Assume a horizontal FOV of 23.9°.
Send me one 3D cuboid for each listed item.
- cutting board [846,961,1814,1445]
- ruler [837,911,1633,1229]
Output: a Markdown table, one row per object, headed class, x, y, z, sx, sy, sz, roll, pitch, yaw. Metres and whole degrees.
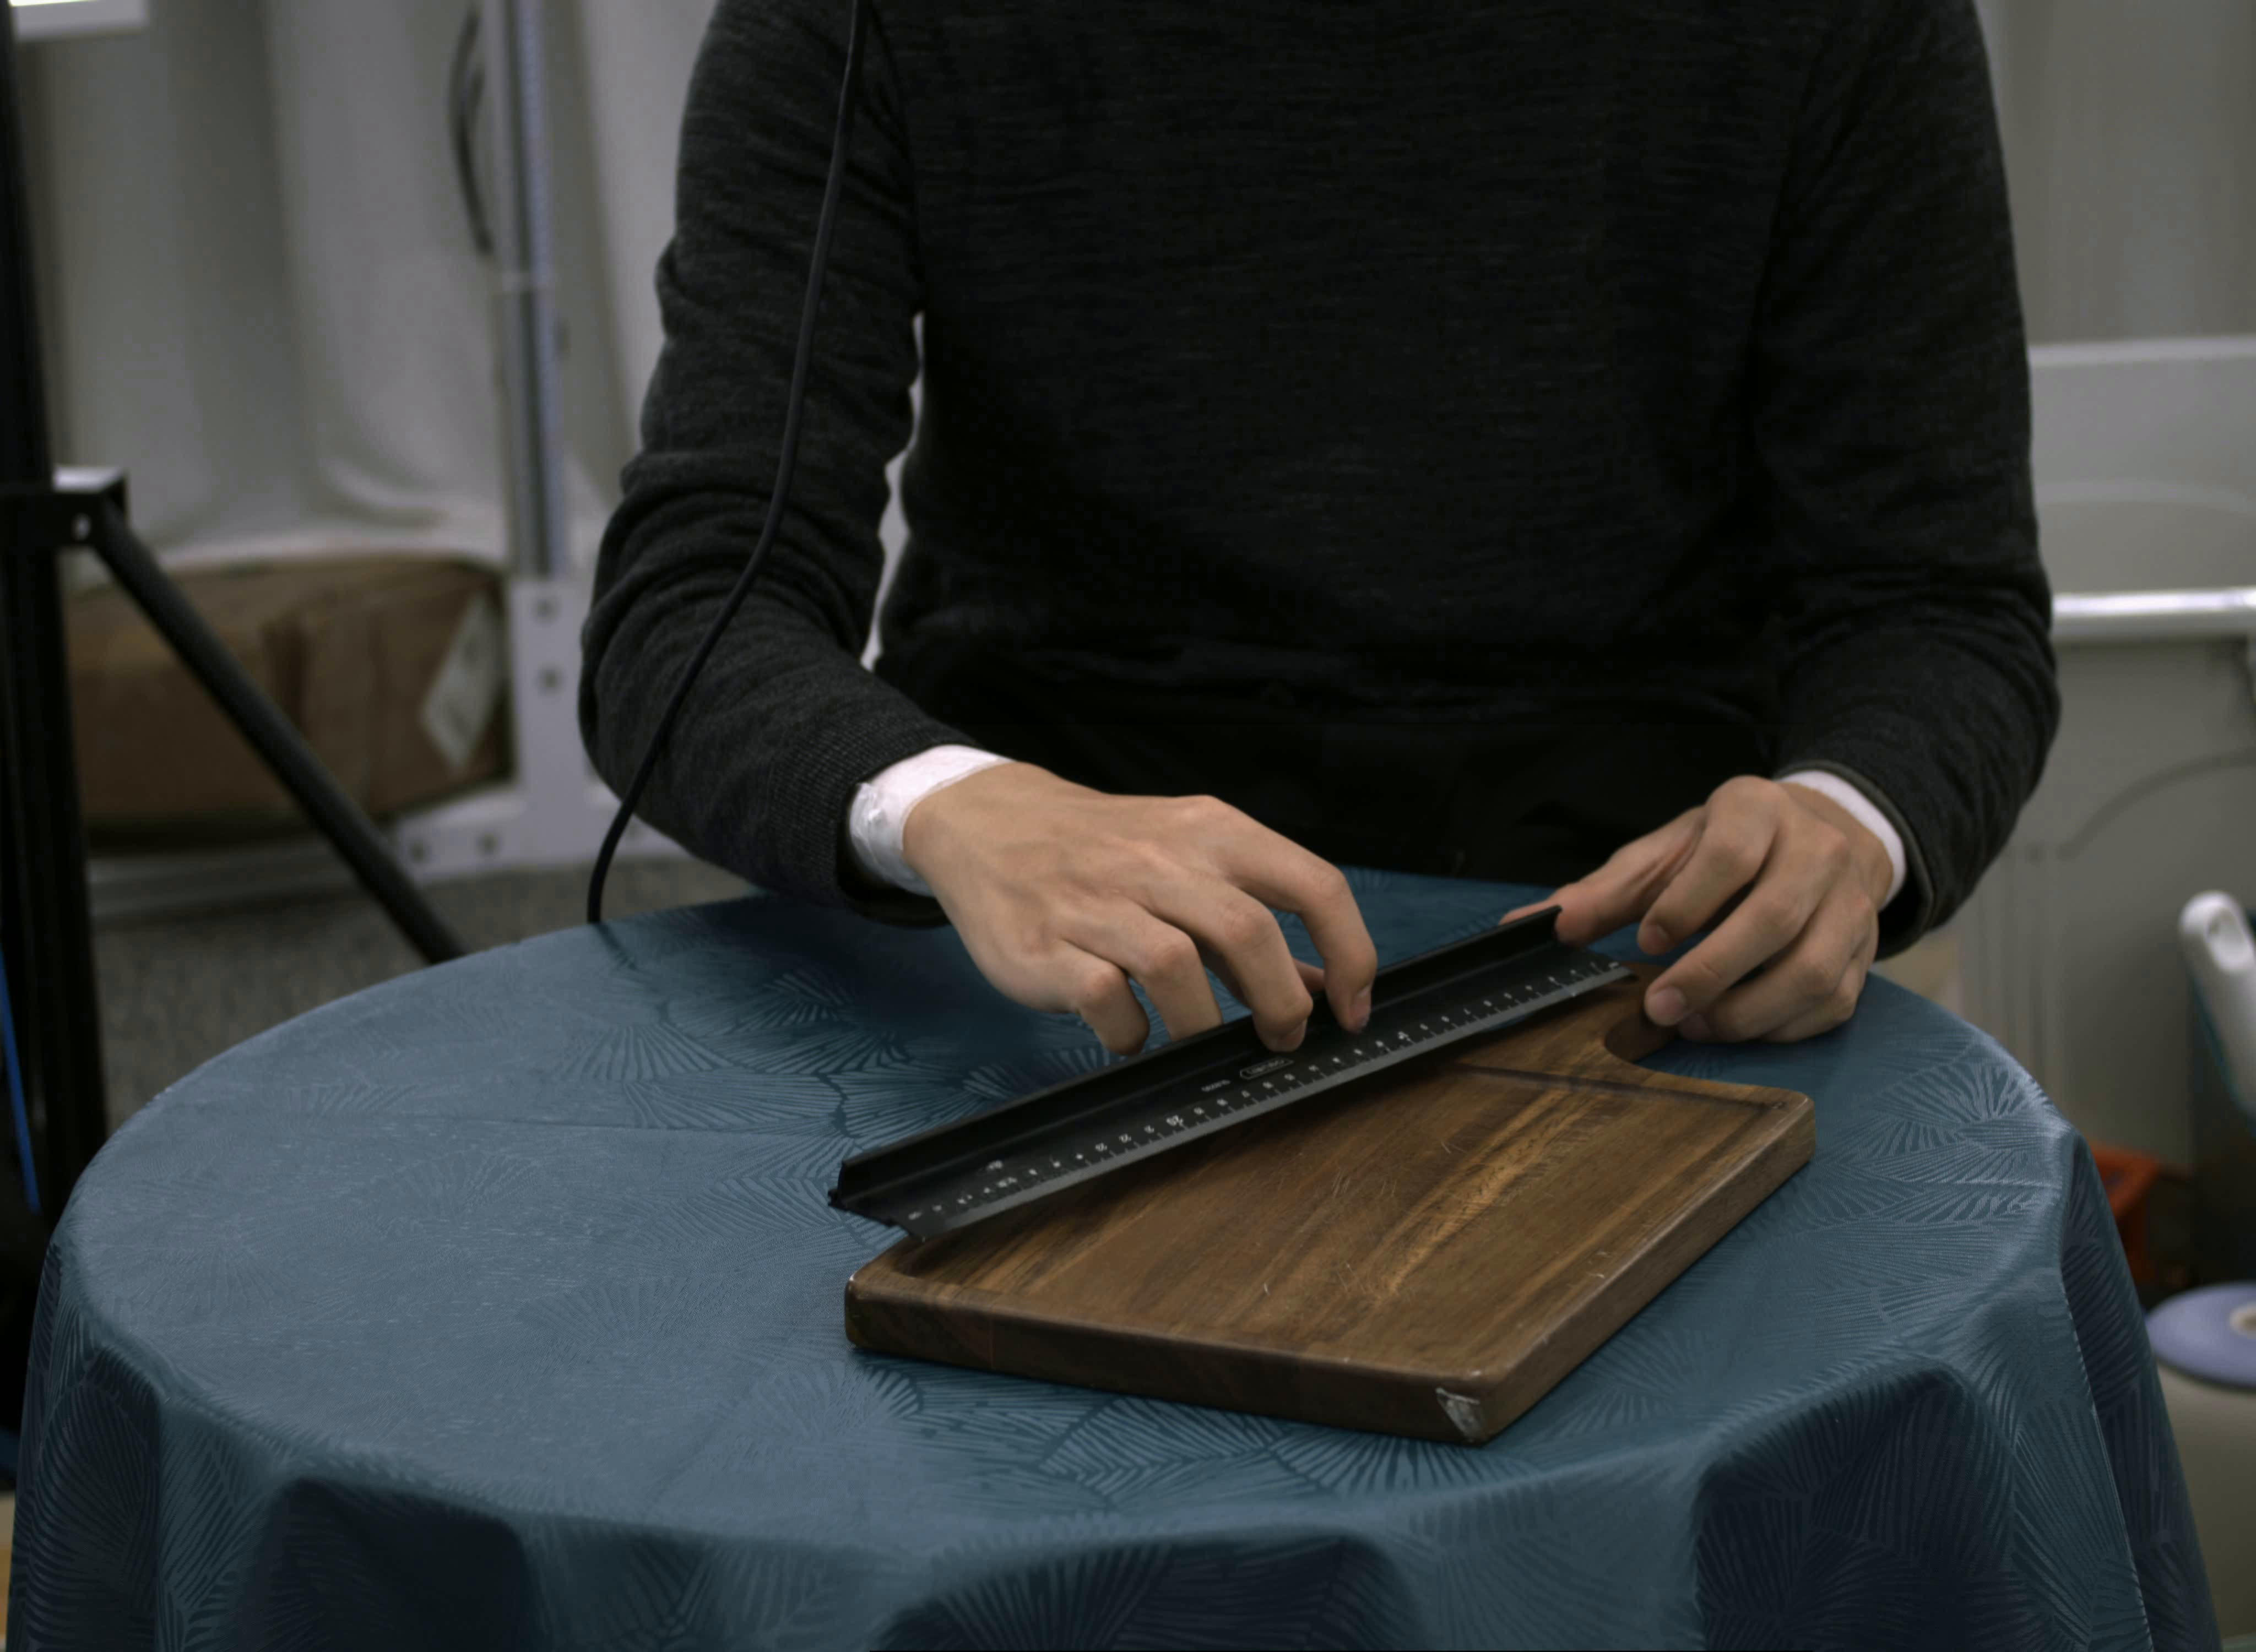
| class | x | y | z | sx | sy | sz | roll | pitch | yaw |
| --- | --- | --- | --- | --- | --- | --- | --- | --- | --- |
| cutting board | 0.085 | 0.098 | 1.541 | 0.204 | 0.023 | 0.346 | 6 | 17 | 27 |
| ruler | 0.039 | 0.069 | 1.558 | 0.305 | 0.017 | 0.040 | -17 | 26 | -42 |
